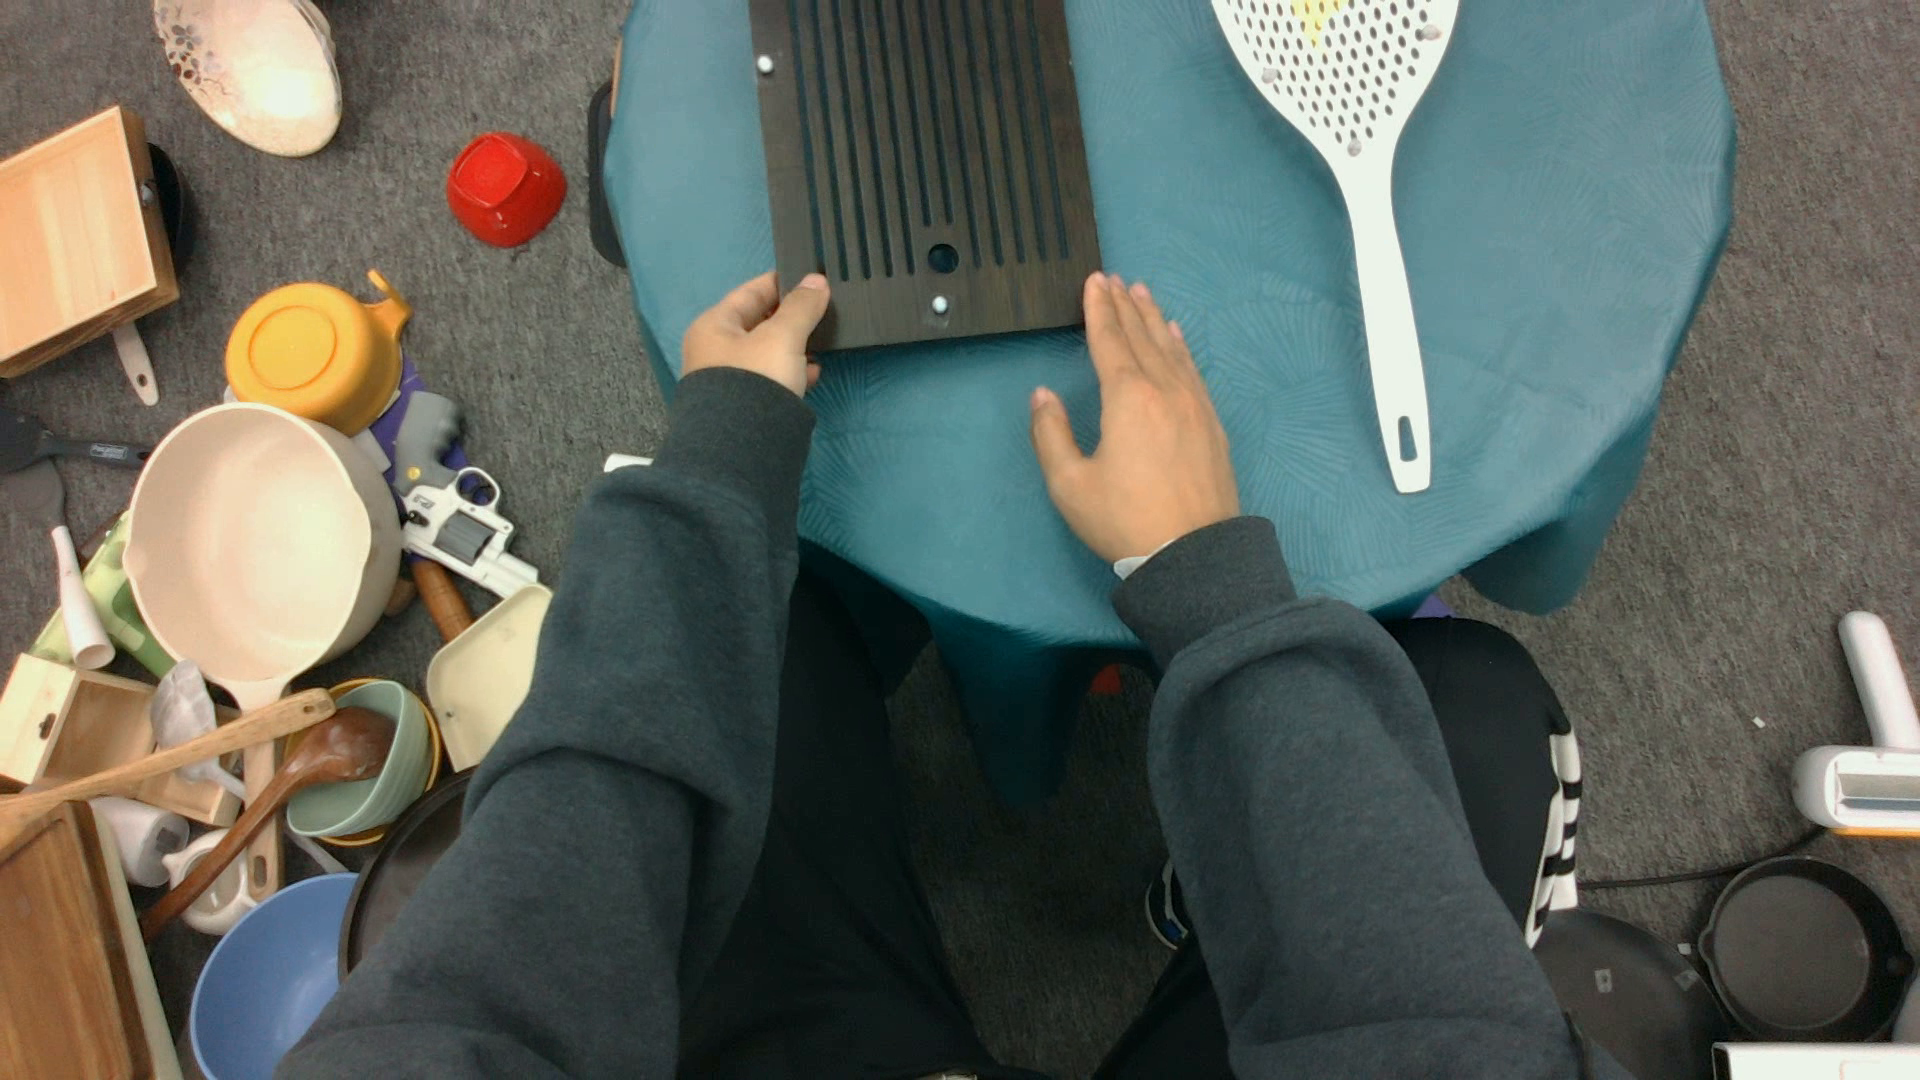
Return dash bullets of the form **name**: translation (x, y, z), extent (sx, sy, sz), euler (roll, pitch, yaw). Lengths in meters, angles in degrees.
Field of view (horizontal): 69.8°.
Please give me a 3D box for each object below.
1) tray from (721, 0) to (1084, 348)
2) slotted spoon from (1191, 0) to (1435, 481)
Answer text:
- **tray**: translation (-0.039, -0.253, 0.744), extent (0.170, 0.018, 0.306), euler (-7, 77, -5)
- **slotted spoon**: translation (0.198, -0.203, 0.717), extent (0.137, 0.050, 0.348), euler (-8, 77, 0)
